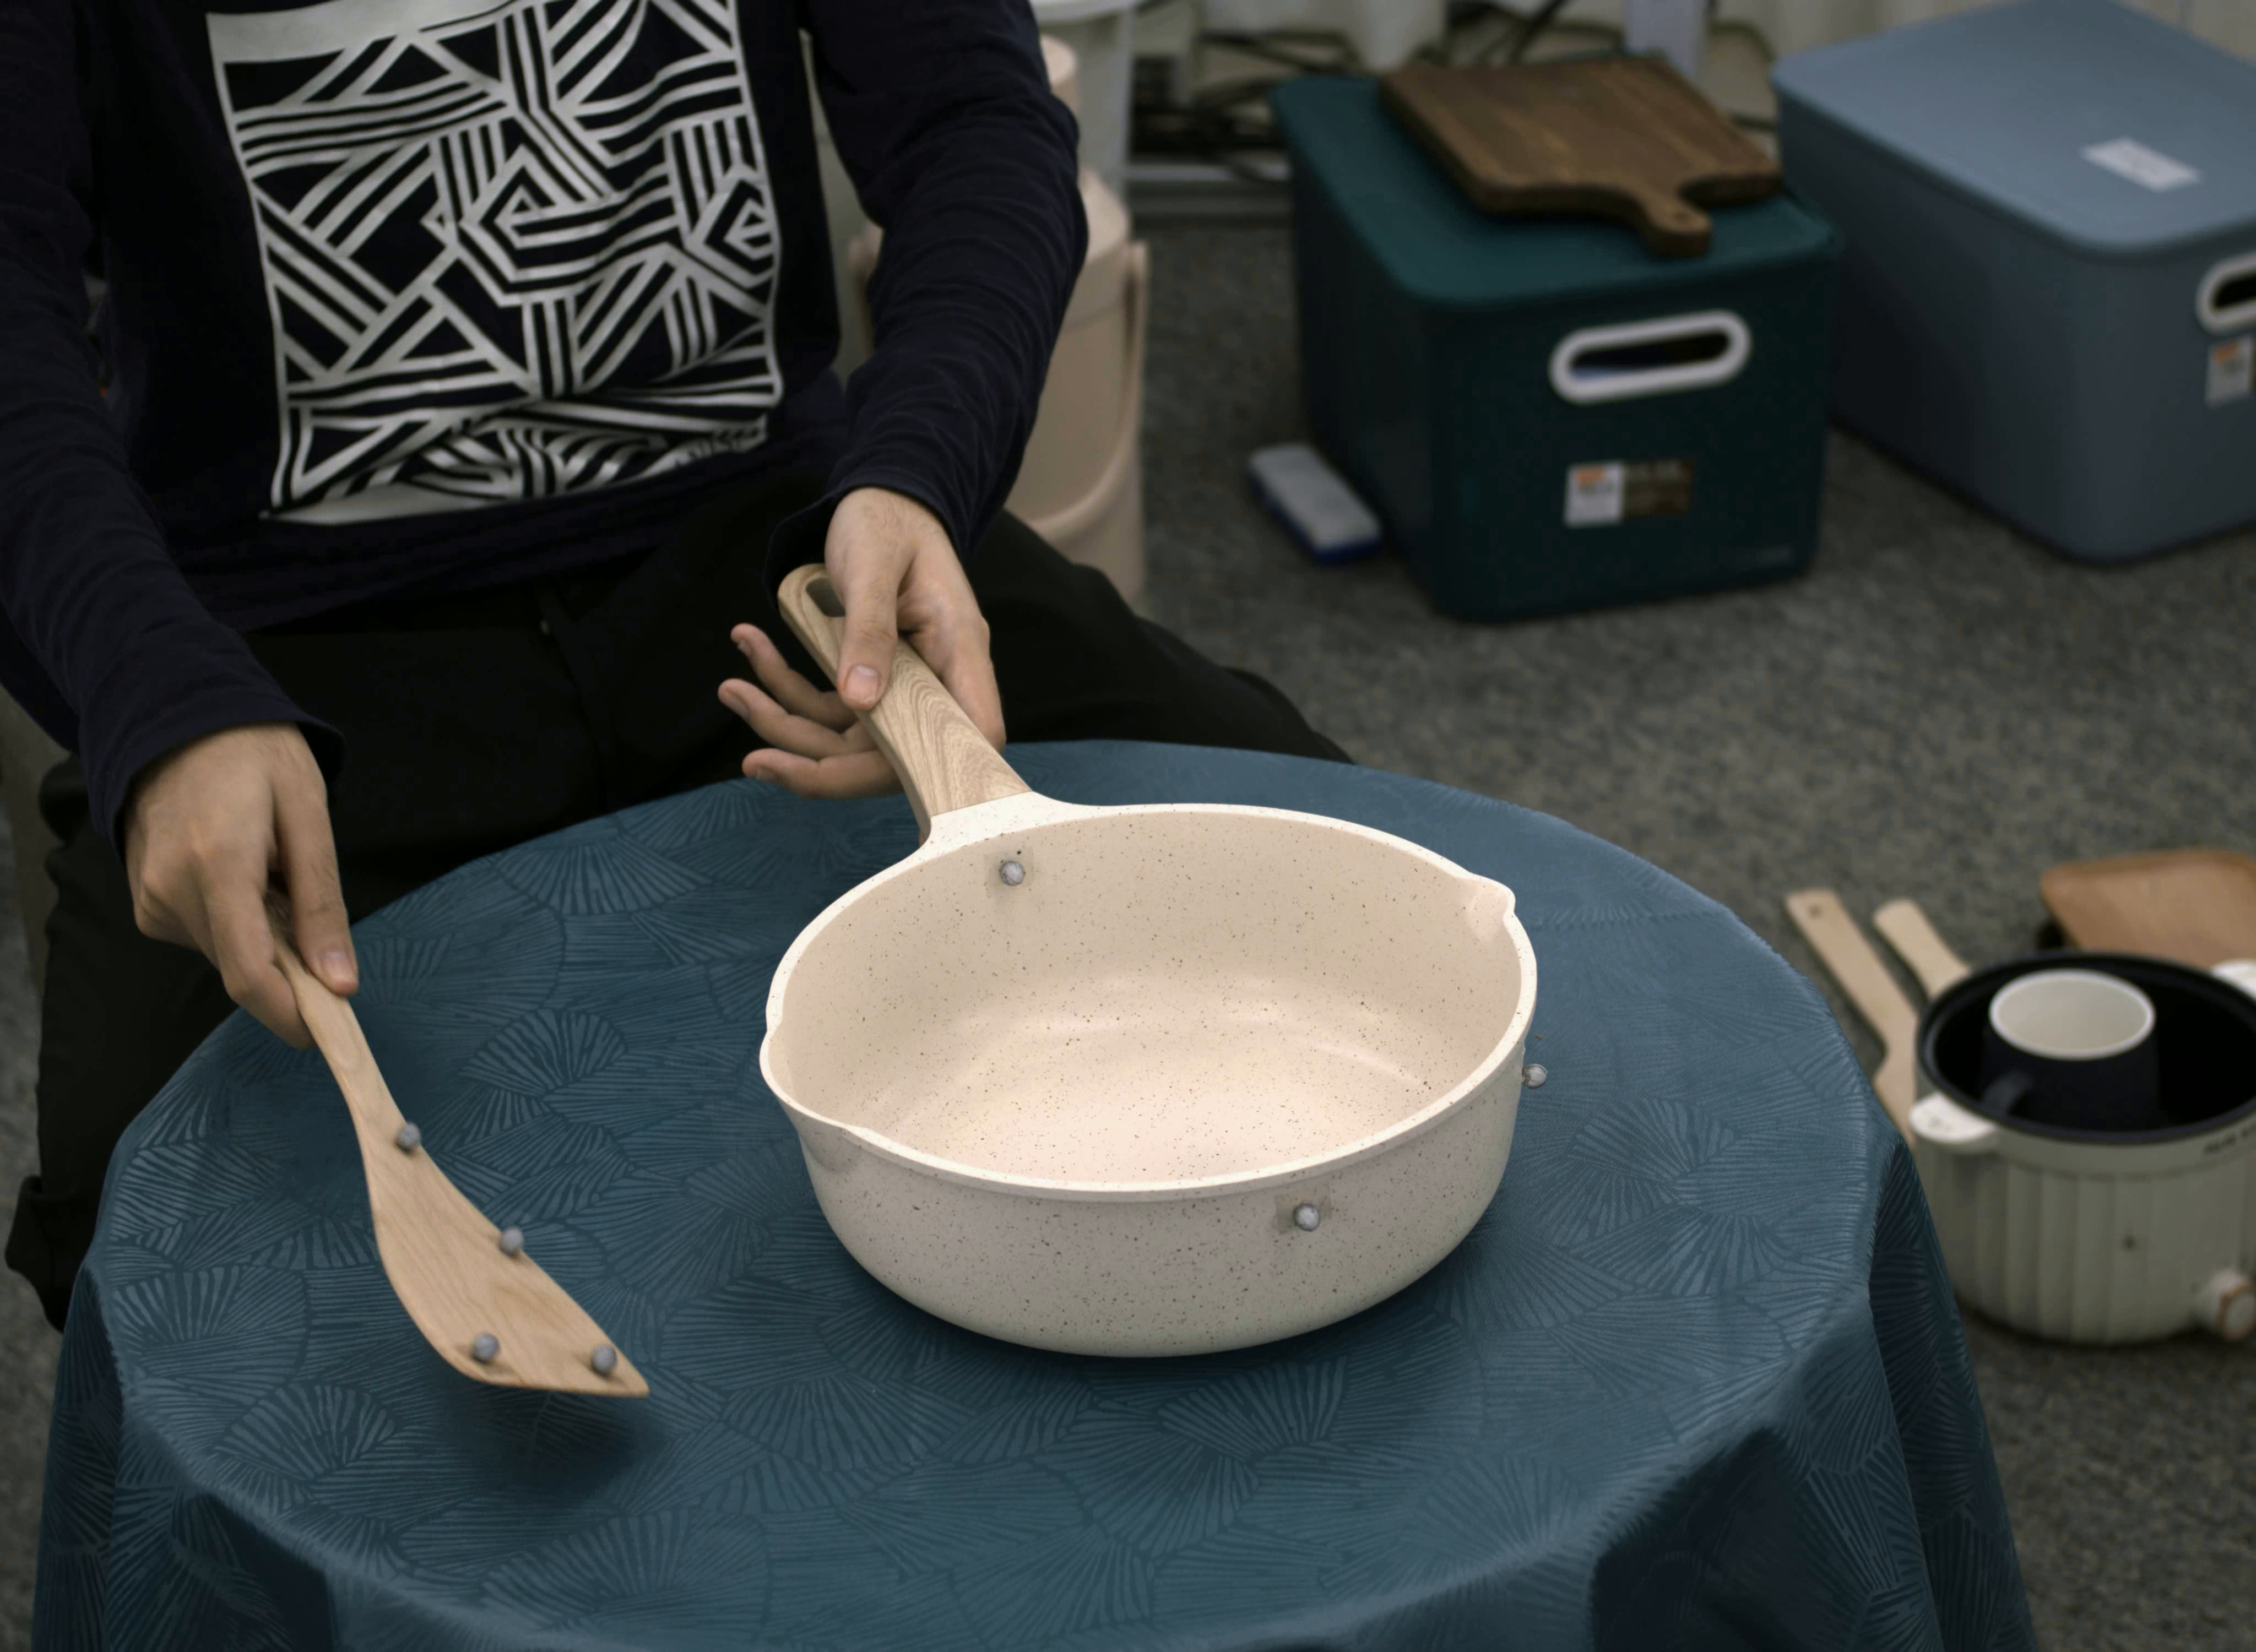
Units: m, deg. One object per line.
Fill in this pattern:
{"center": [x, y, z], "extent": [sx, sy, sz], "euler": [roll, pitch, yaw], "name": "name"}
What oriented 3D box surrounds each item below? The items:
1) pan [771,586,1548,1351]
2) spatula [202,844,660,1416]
{"center": [-0.025, 0.042, 1.919], "extent": [0.264, 0.101, 0.437], "euler": [-15, 29, -20], "name": "pan"}
{"center": [-0.239, 0.096, 1.827], "extent": [0.080, 0.016, 0.331], "euler": [19, 22, -39], "name": "spatula"}
